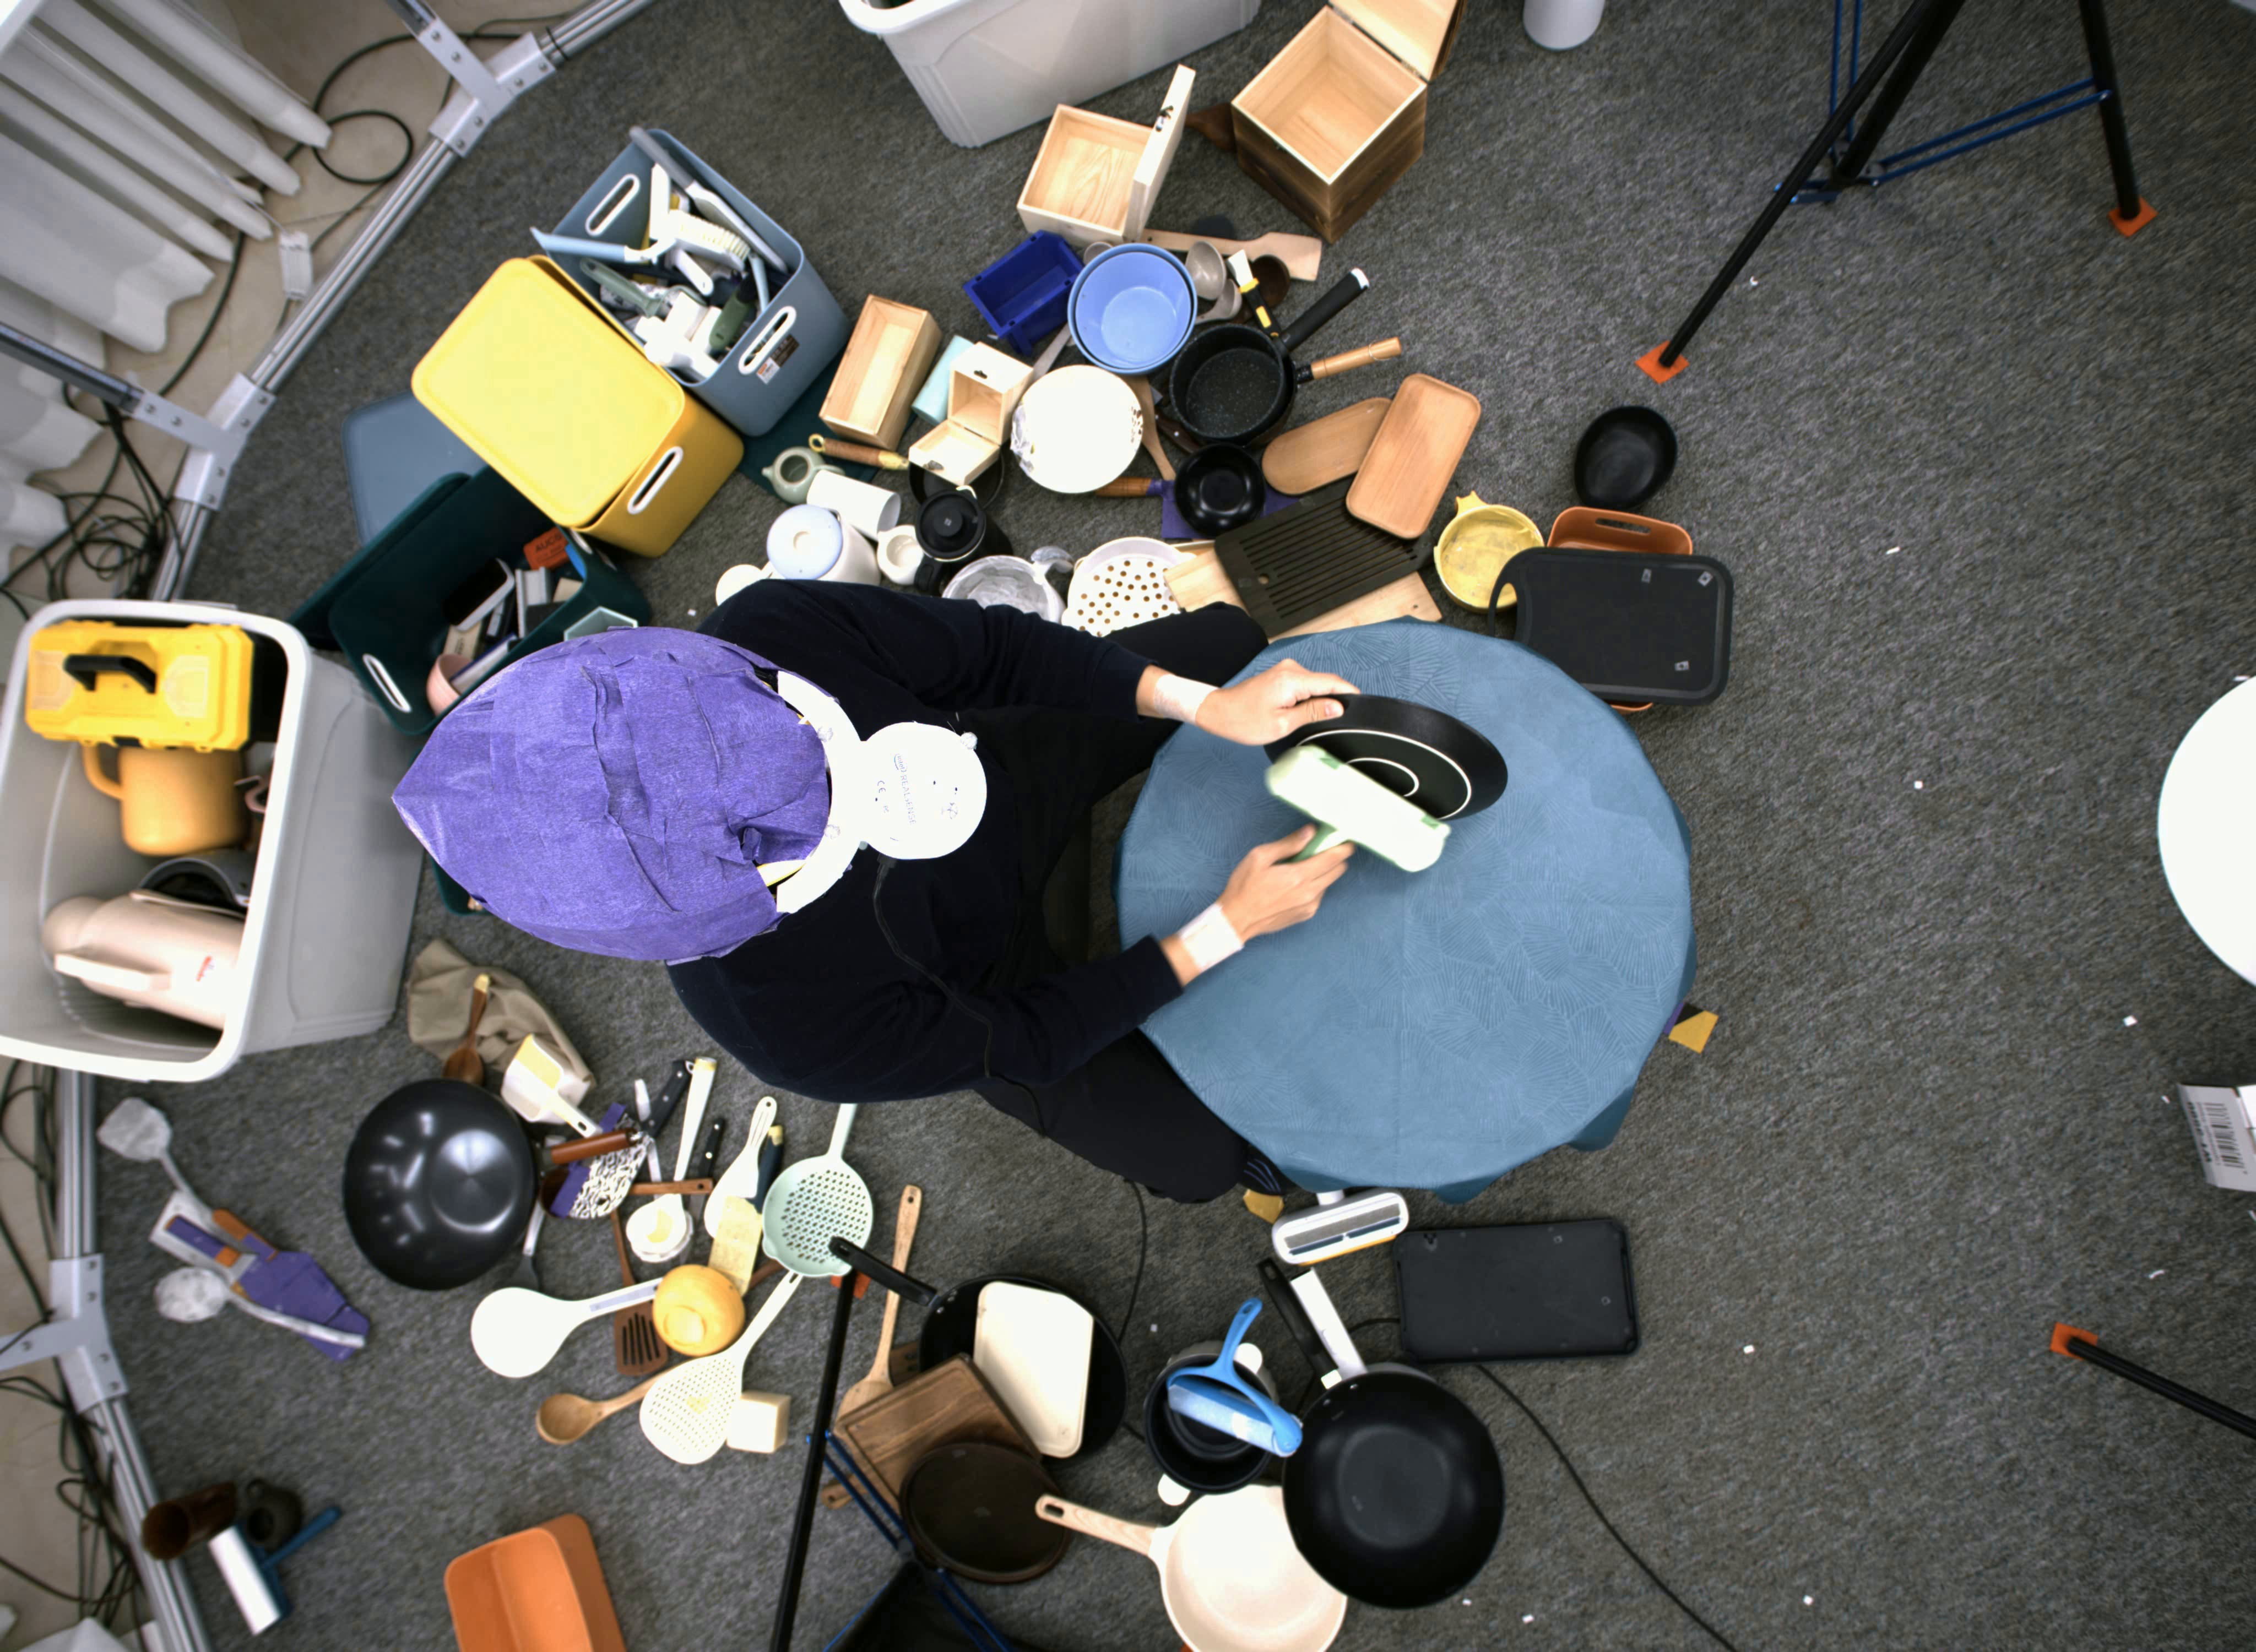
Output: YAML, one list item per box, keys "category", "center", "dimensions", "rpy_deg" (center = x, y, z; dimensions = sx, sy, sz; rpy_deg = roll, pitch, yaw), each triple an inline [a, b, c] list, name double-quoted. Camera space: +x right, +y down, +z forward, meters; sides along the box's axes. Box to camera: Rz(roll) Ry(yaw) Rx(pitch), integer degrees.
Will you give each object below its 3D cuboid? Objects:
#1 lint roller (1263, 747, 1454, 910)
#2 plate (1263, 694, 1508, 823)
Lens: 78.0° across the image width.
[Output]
- category: "lint roller"
  center: [0.201, 0.029, 1.375]
  dimensions: [0.199, 0.080, 0.186]
  rpy_deg: [26, 114, -26]
- category: "plate"
  center: [0.249, -0.056, 1.351]
  dimensions: [0.245, 0.249, 0.023]
  rpy_deg: [12, 66, 11]
